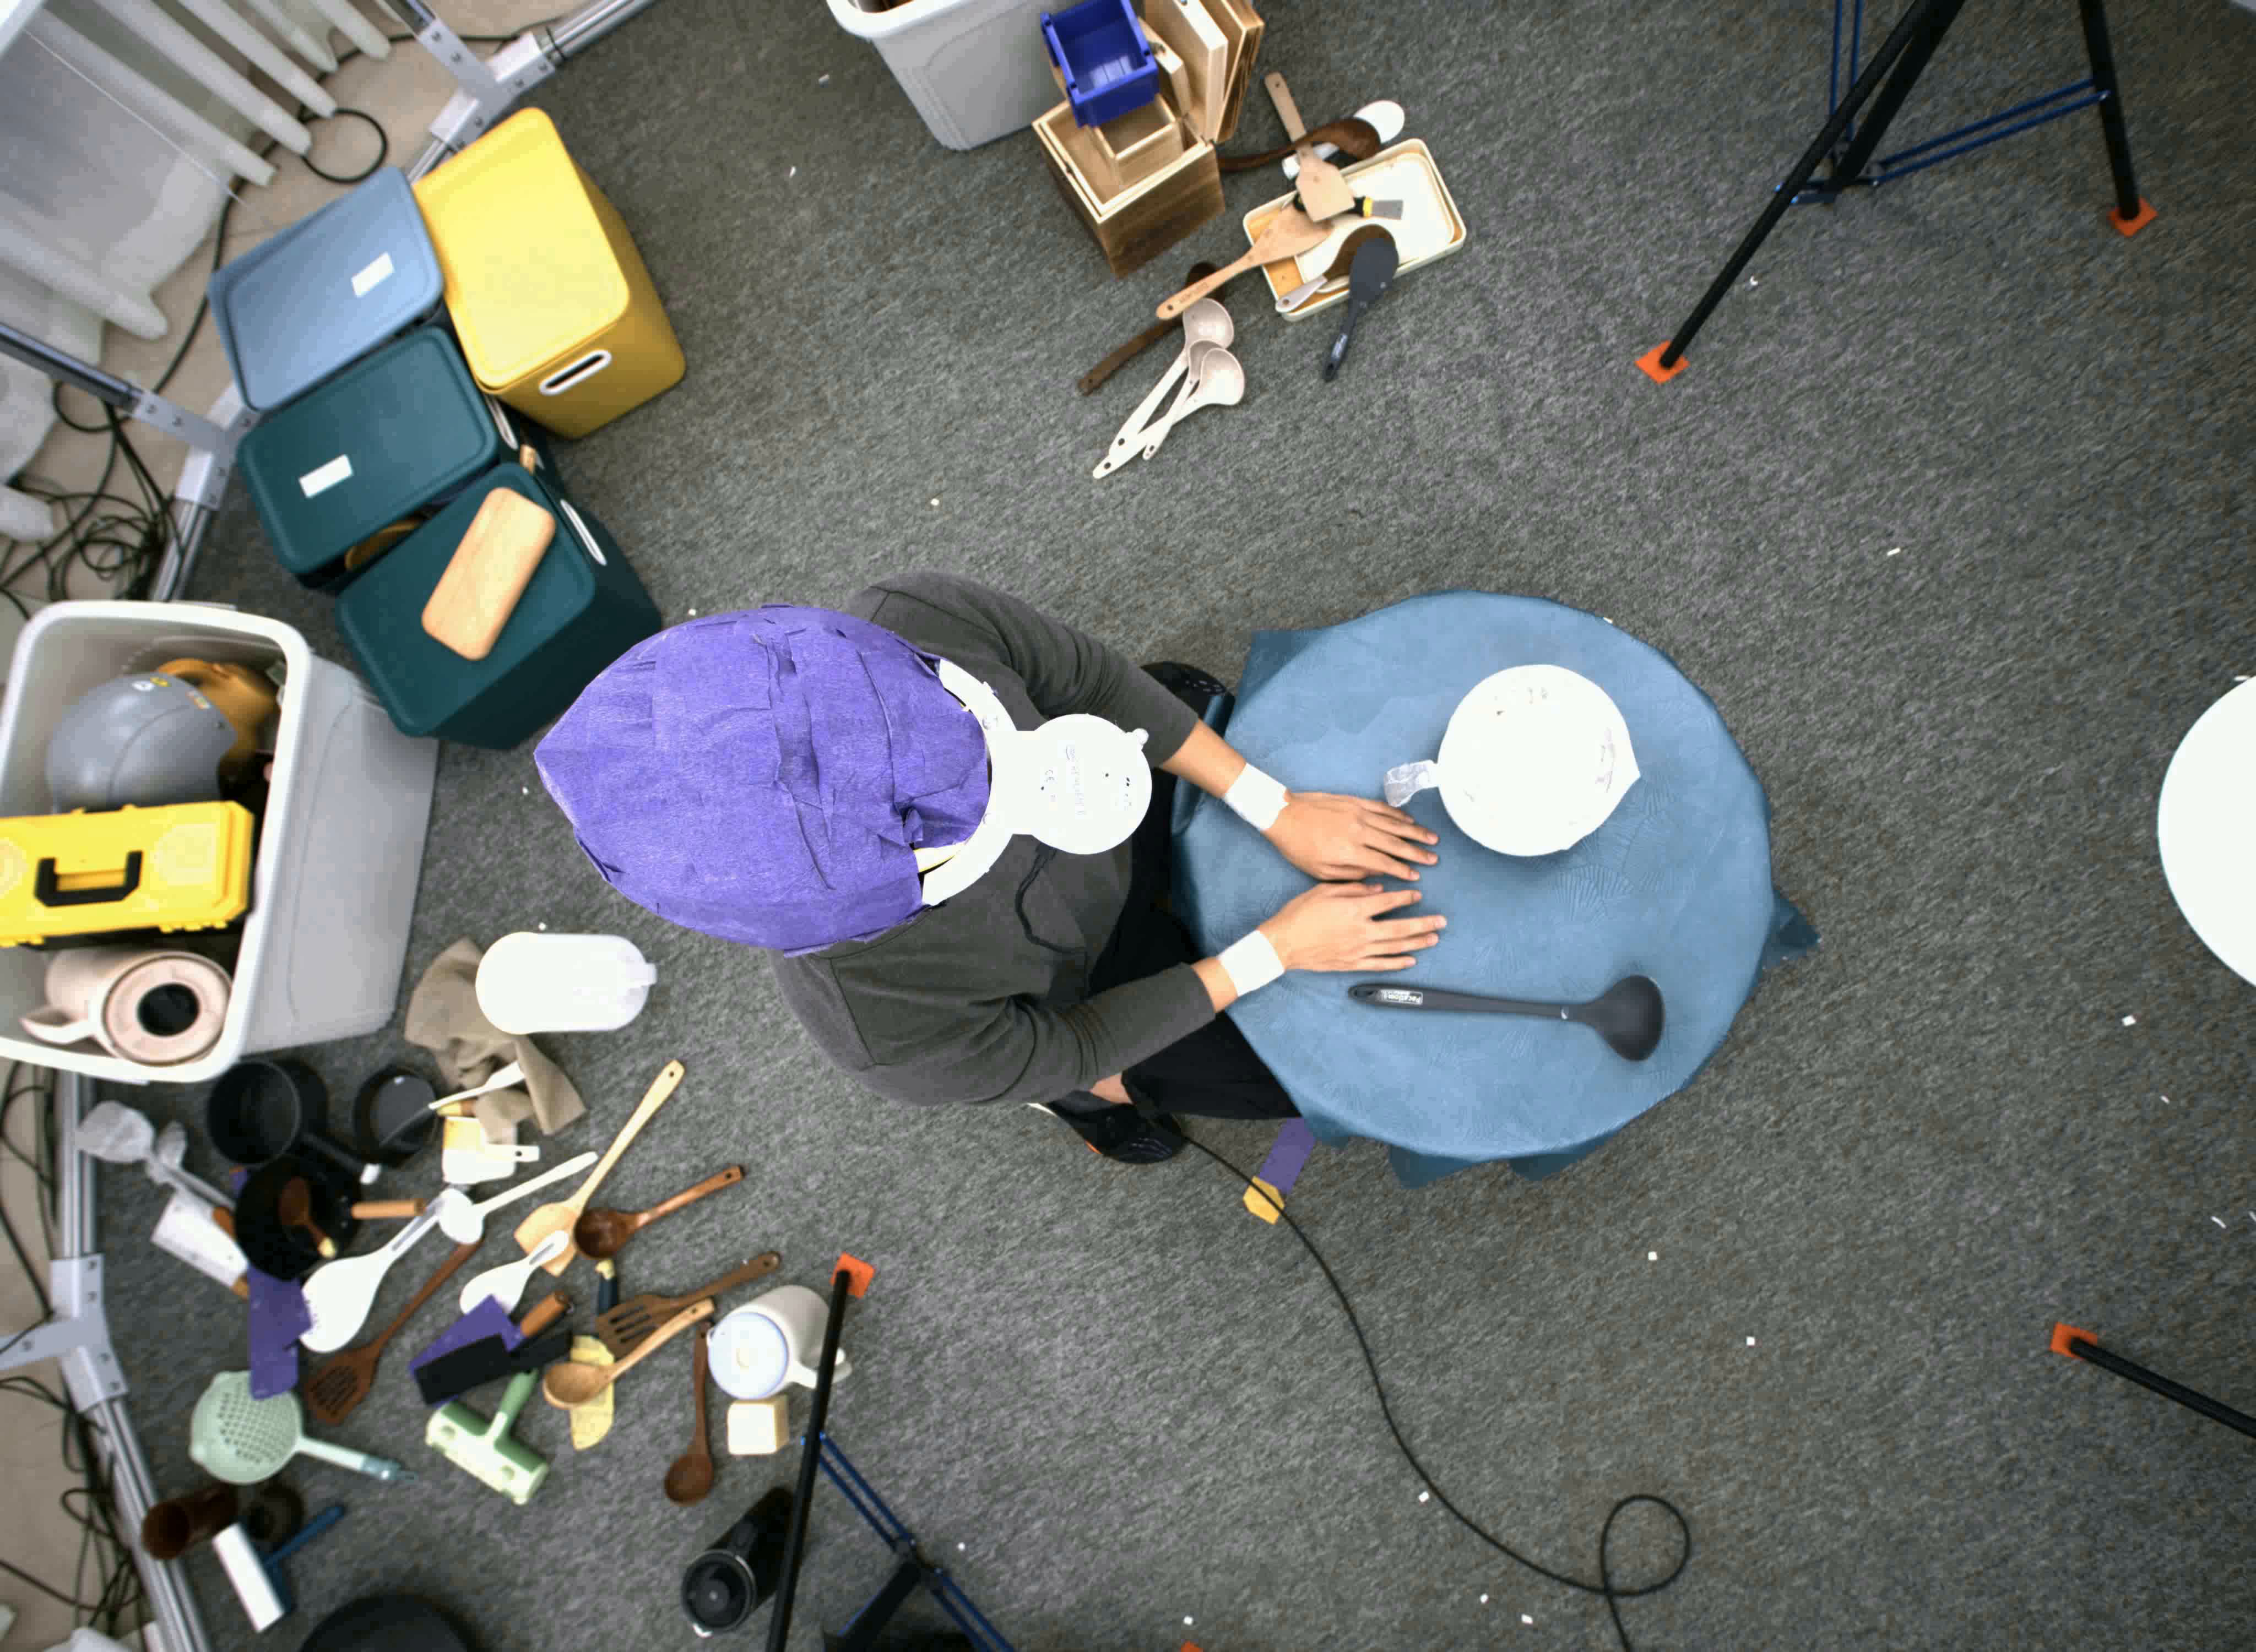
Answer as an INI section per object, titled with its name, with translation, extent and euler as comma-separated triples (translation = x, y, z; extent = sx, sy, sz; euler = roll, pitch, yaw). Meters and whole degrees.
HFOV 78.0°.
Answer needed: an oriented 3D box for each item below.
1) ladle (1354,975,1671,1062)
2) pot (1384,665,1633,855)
[ladle]
translation = 0.387, 0.181, 1.400
extent = 0.315, 0.064, 0.085
euler = 4, 82, 11
[pot]
translation = 0.376, -0.059, 1.379
extent = 0.235, 0.137, 0.177
euler = -9, 84, 10
